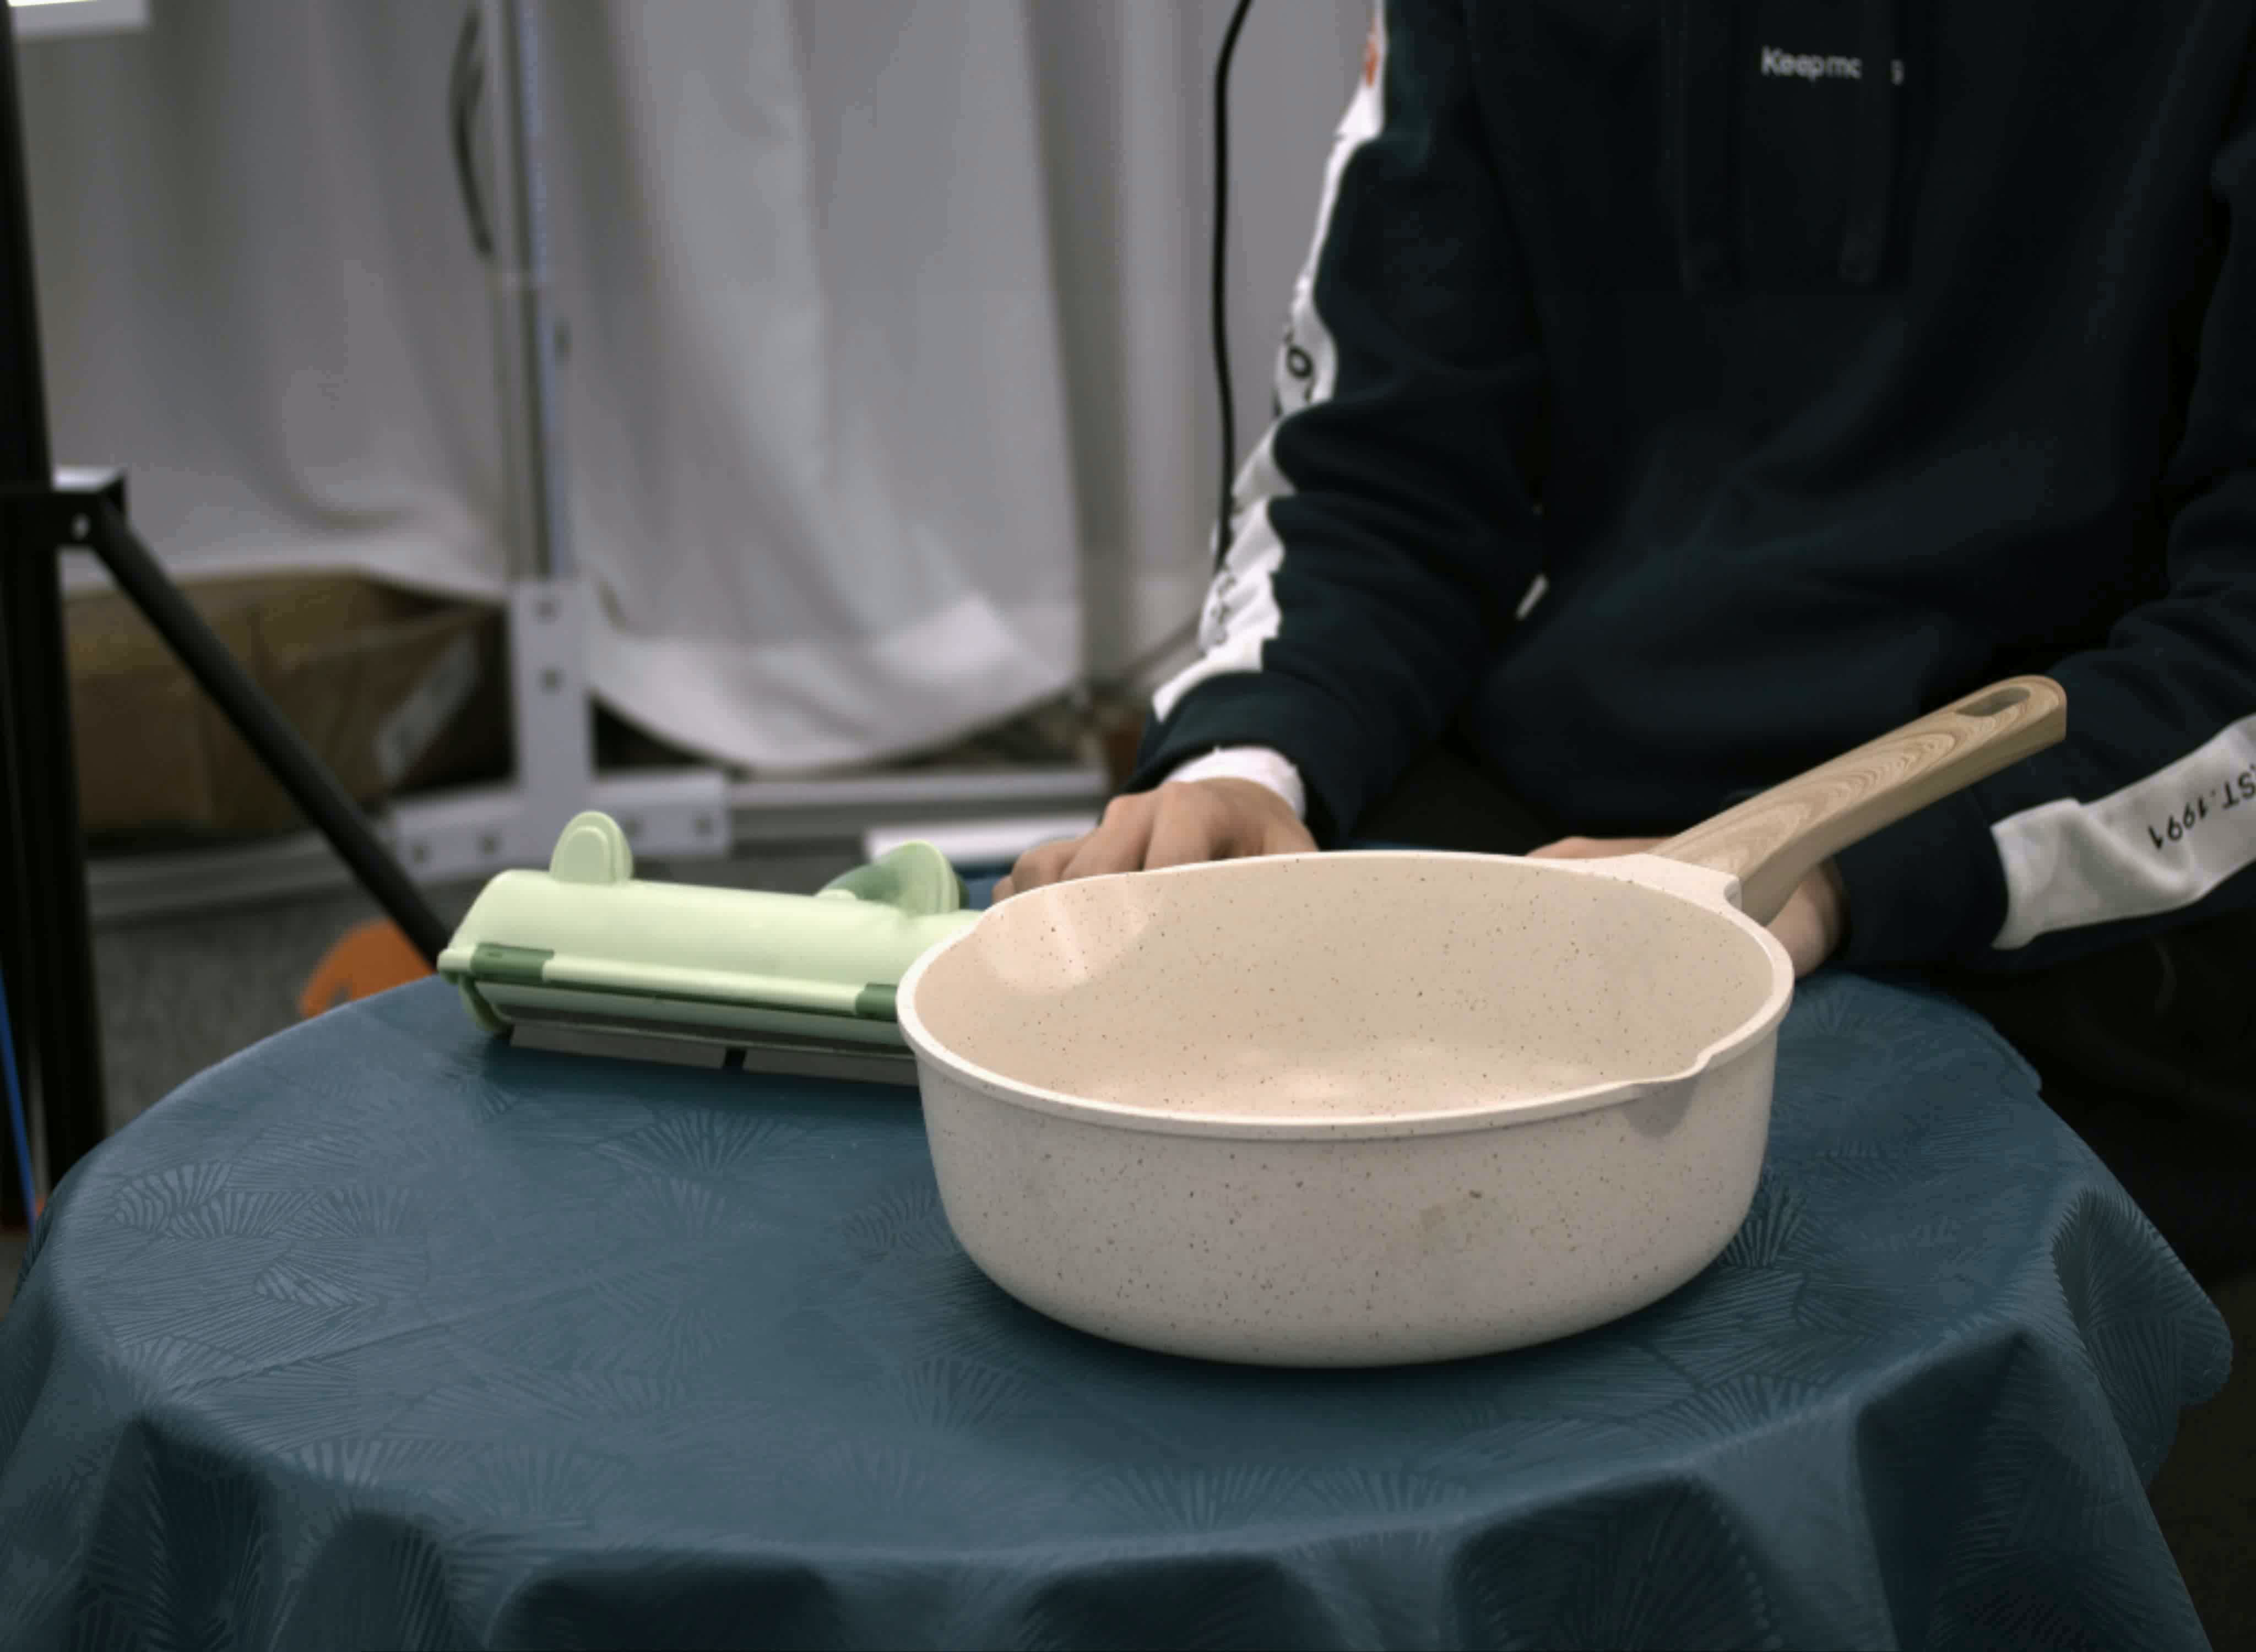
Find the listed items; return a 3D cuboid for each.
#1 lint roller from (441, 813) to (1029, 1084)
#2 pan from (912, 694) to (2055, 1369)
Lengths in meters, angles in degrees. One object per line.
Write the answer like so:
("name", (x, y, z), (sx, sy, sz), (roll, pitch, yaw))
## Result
("lint roller", (-0.099, 0.022, 1.739), (0.201, 0.082, 0.181), (4, 23, 24))
("pan", (0.133, 0.055, 1.541), (0.425, 0.102, 0.269), (-16, 19, -39))
